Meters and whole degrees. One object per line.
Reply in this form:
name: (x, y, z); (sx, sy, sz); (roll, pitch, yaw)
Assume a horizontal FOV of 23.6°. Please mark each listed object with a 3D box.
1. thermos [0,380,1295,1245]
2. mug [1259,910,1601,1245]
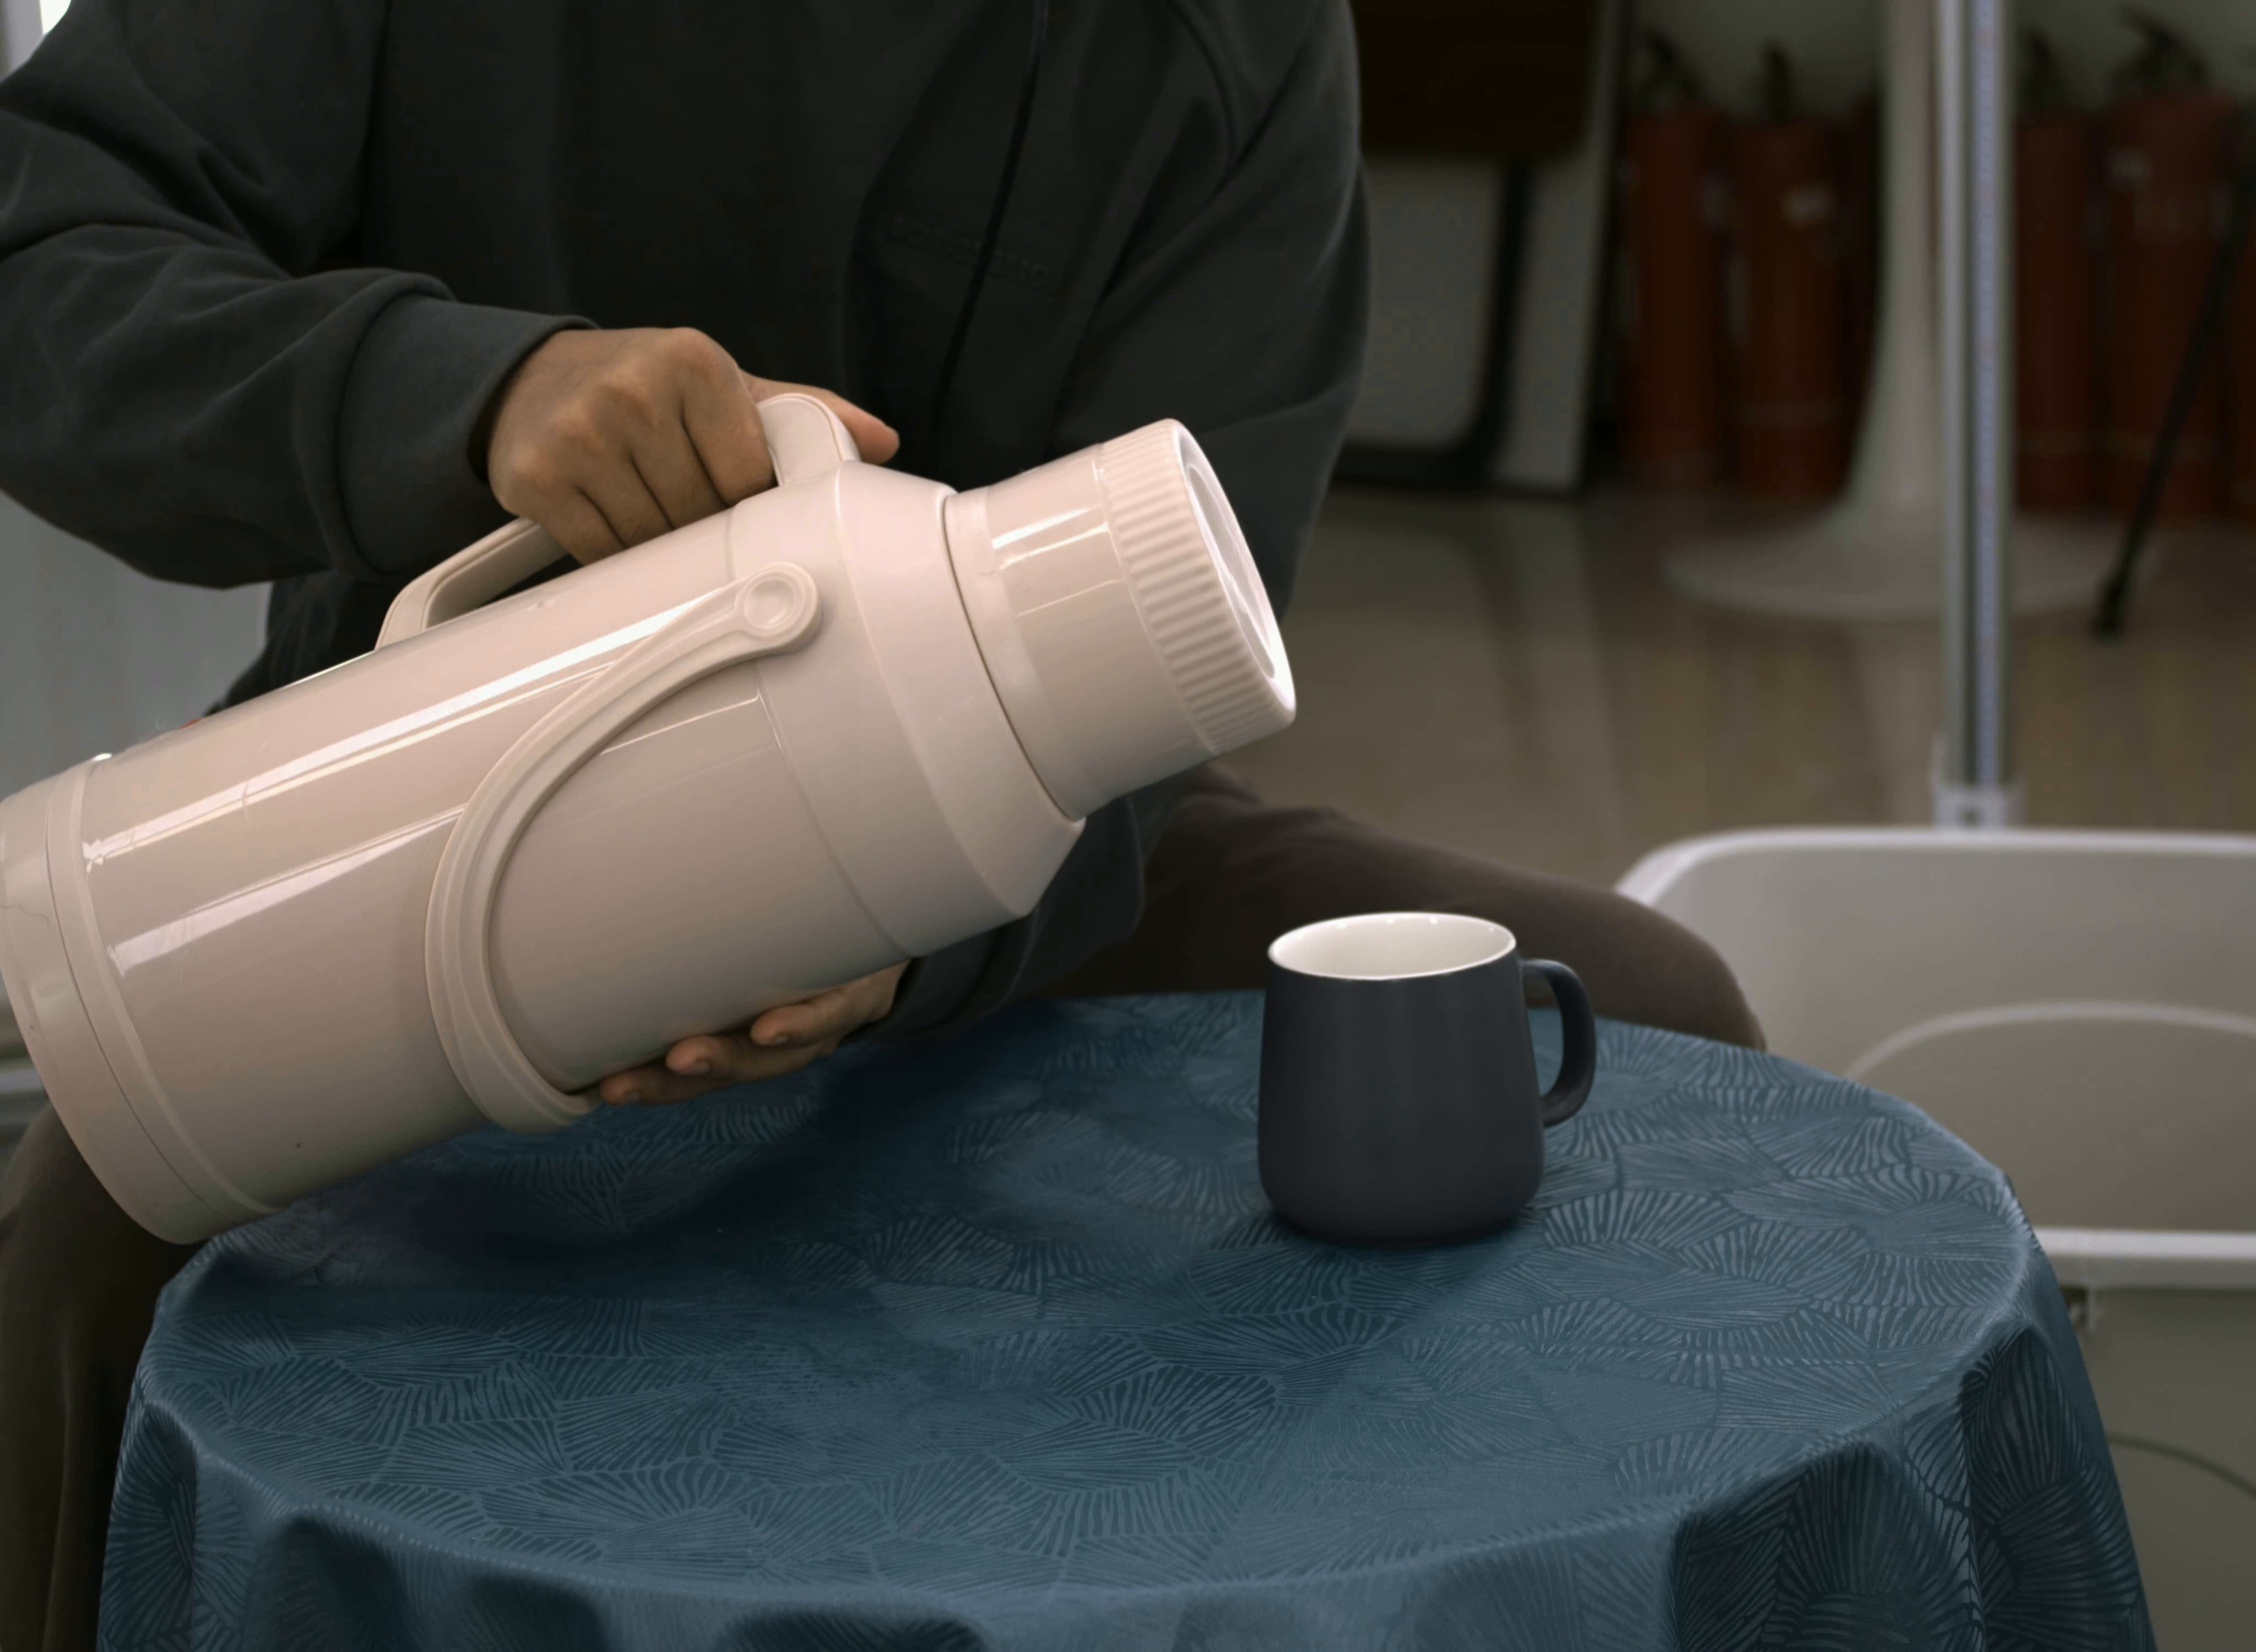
thermos: (-0.153, -0.023, 1.724); (0.404, 0.210, 0.173); (-22, -28, 10)
mug: (0.100, 0.078, 1.732); (0.120, 0.091, 0.094); (-11, 15, -27)
